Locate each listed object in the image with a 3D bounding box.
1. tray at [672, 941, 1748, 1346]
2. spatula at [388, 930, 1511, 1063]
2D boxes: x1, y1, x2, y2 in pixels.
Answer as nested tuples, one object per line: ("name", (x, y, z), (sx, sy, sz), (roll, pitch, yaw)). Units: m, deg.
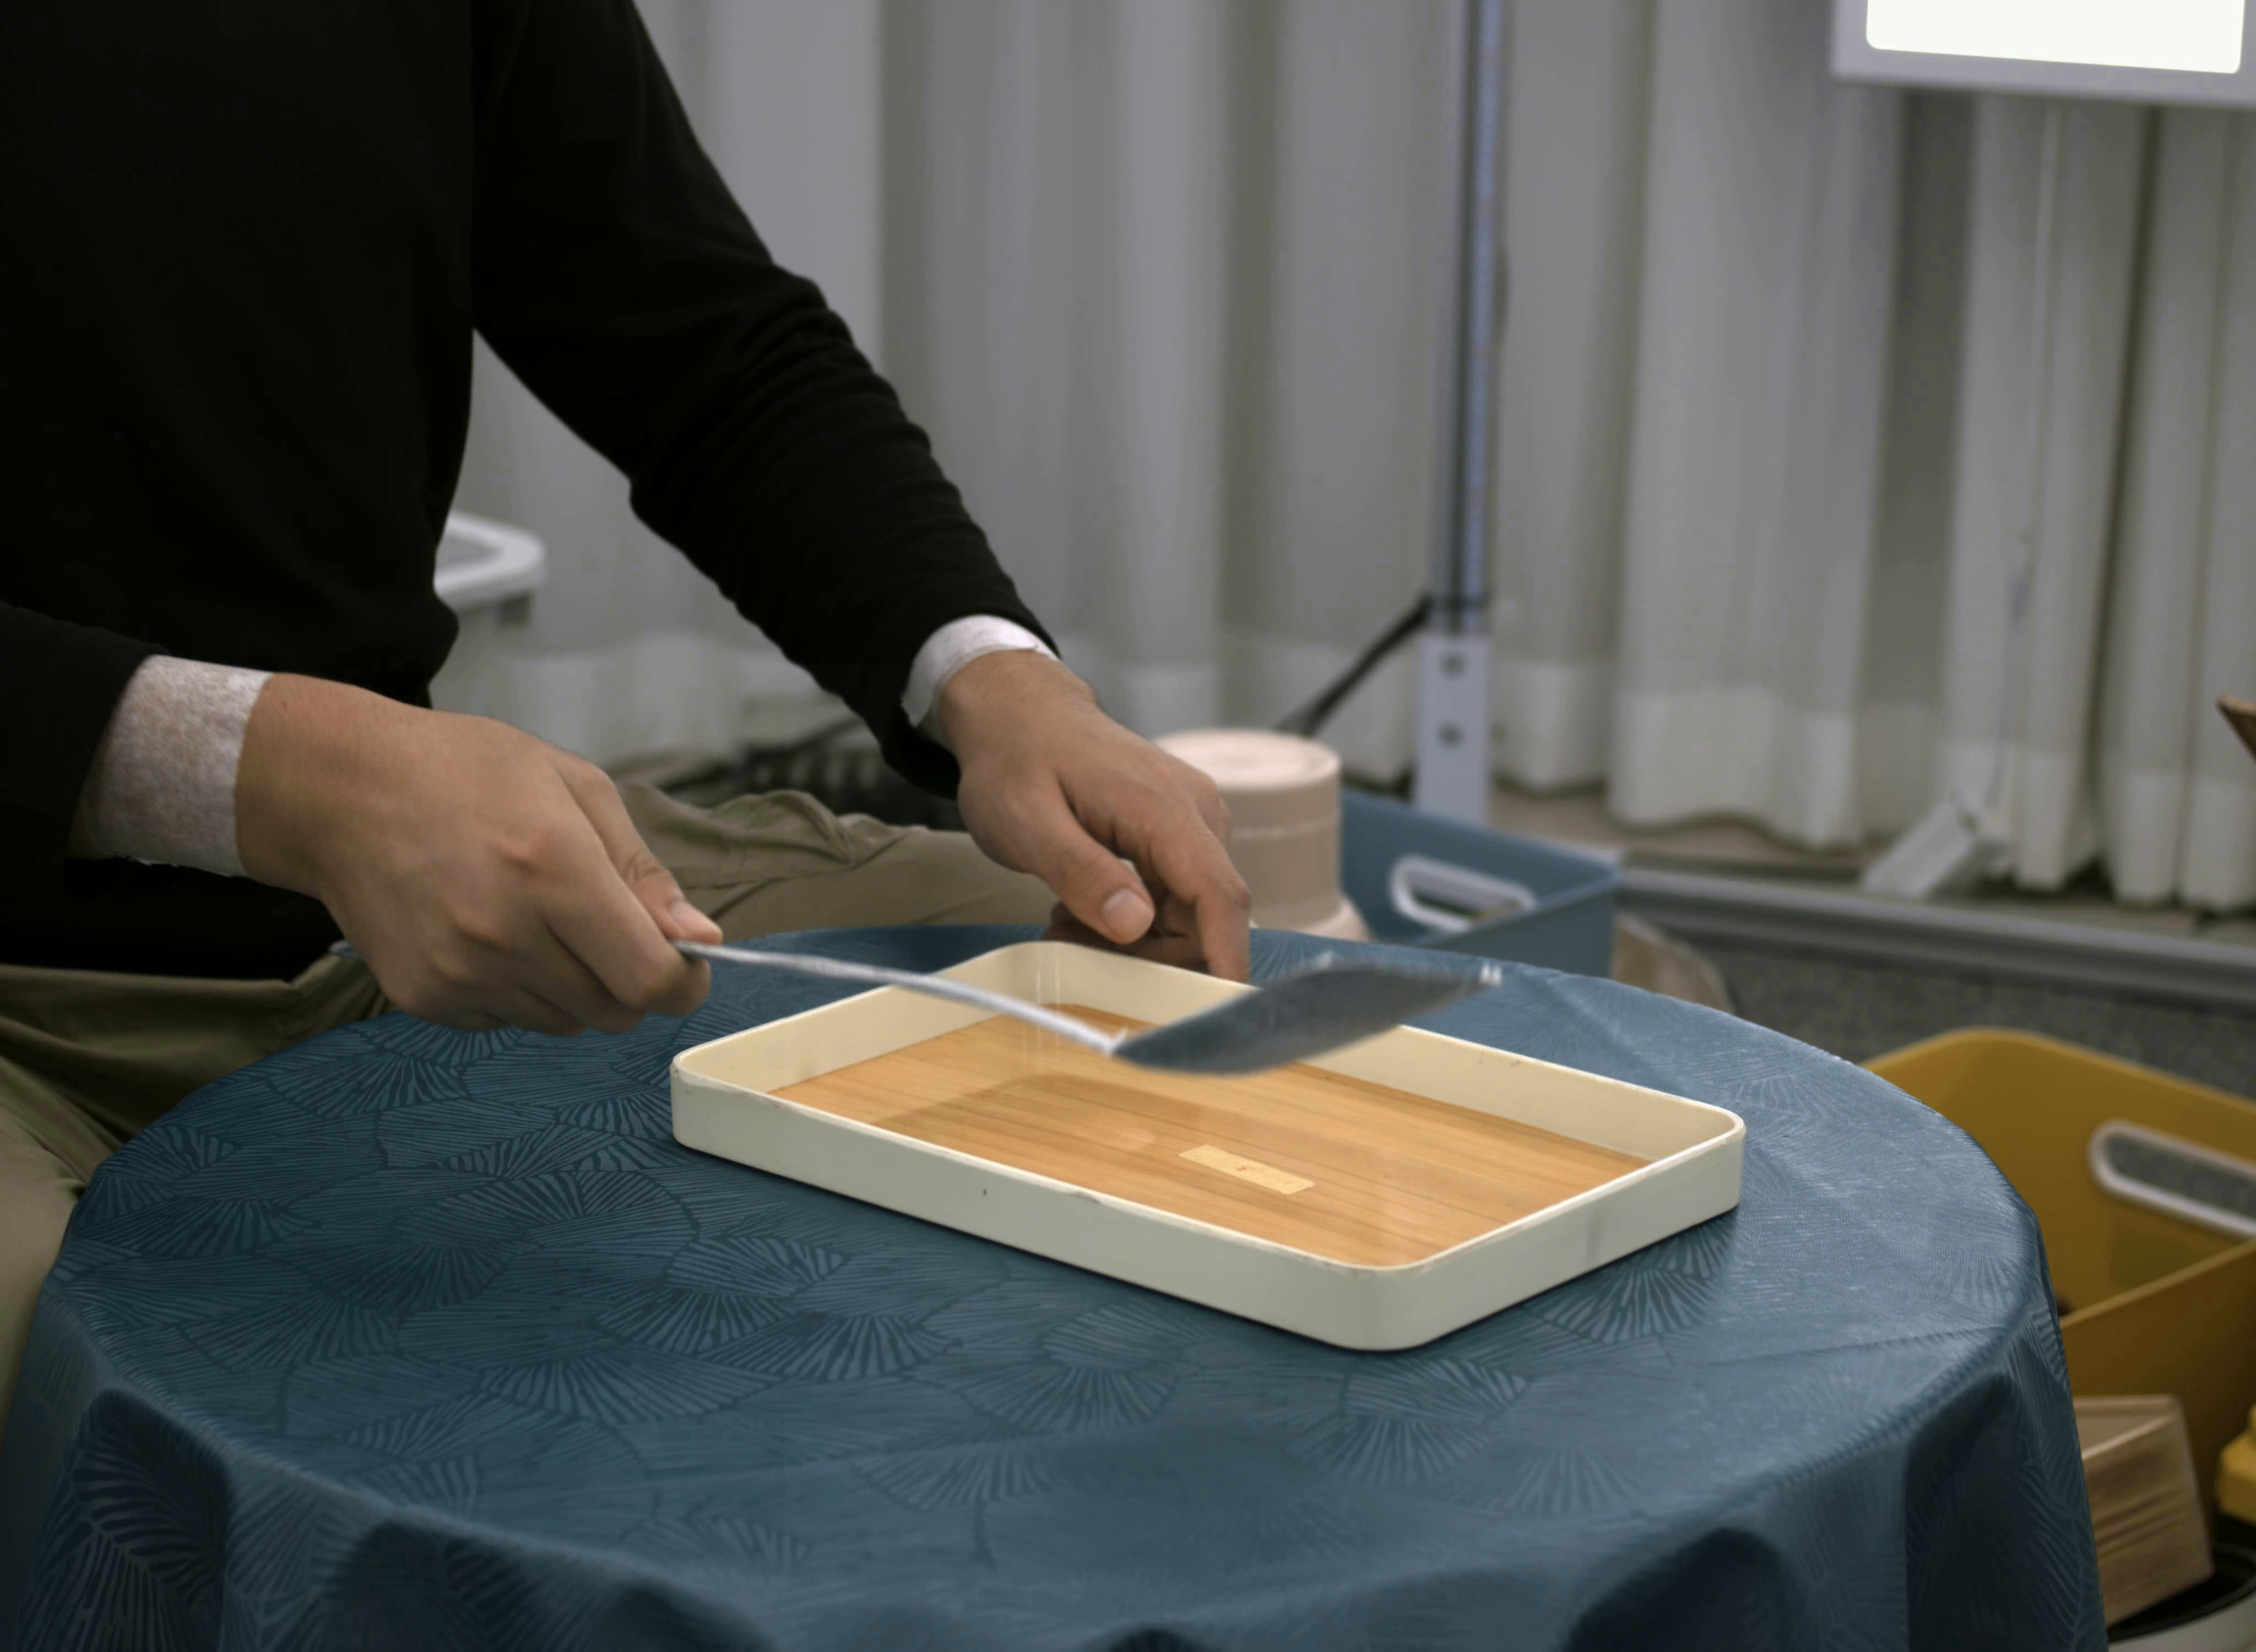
("tray", (0.023, 0.094, 1.637), (0.296, 0.027, 0.192), (13, 20, 39))
("spatula", (-0.068, 0.036, 1.480), (0.361, 0.045, 0.099), (6, -2, 29))
